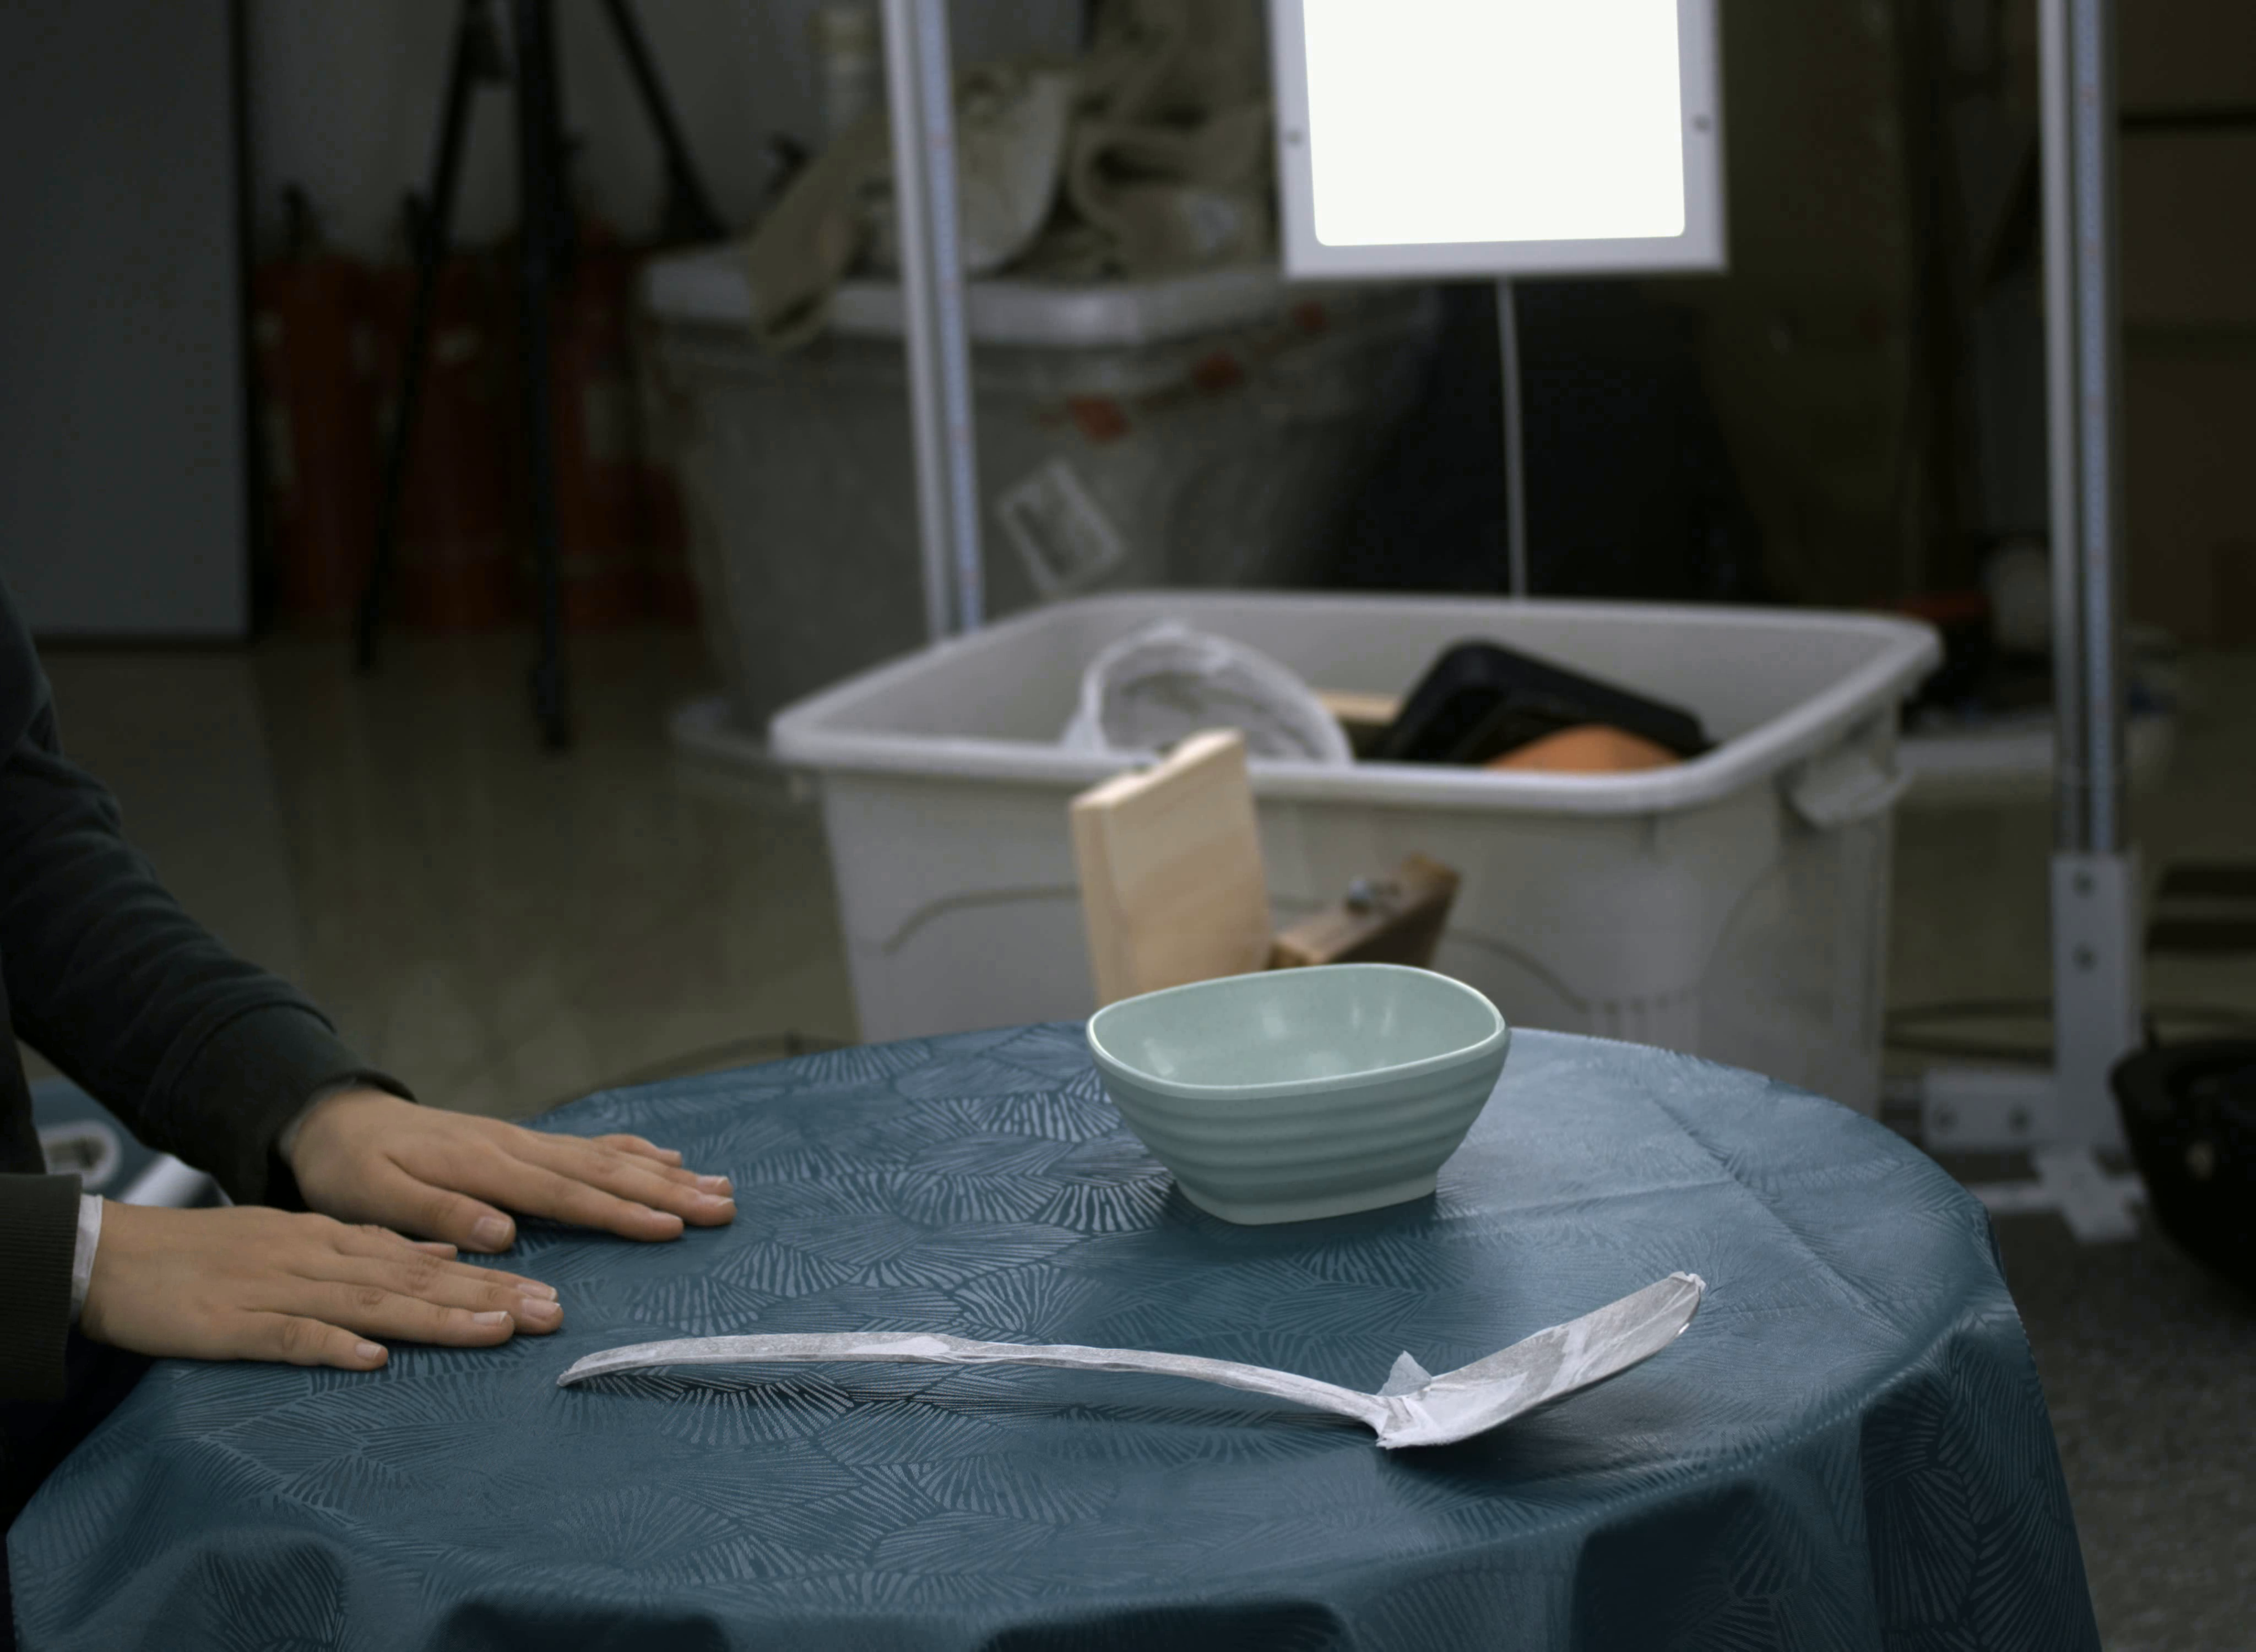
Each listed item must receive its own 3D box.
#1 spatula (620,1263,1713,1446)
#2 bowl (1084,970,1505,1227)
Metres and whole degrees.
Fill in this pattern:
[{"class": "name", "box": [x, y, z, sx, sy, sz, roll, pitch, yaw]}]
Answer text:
[{"class": "spatula", "box": [0.000, 0.158, 1.685, 0.370, 0.045, 0.097, 1, 17, 24]}, {"class": "bowl", "box": [0.057, 0.096, 1.886, 0.151, 0.059, 0.151, -2, 14, -1]}]
